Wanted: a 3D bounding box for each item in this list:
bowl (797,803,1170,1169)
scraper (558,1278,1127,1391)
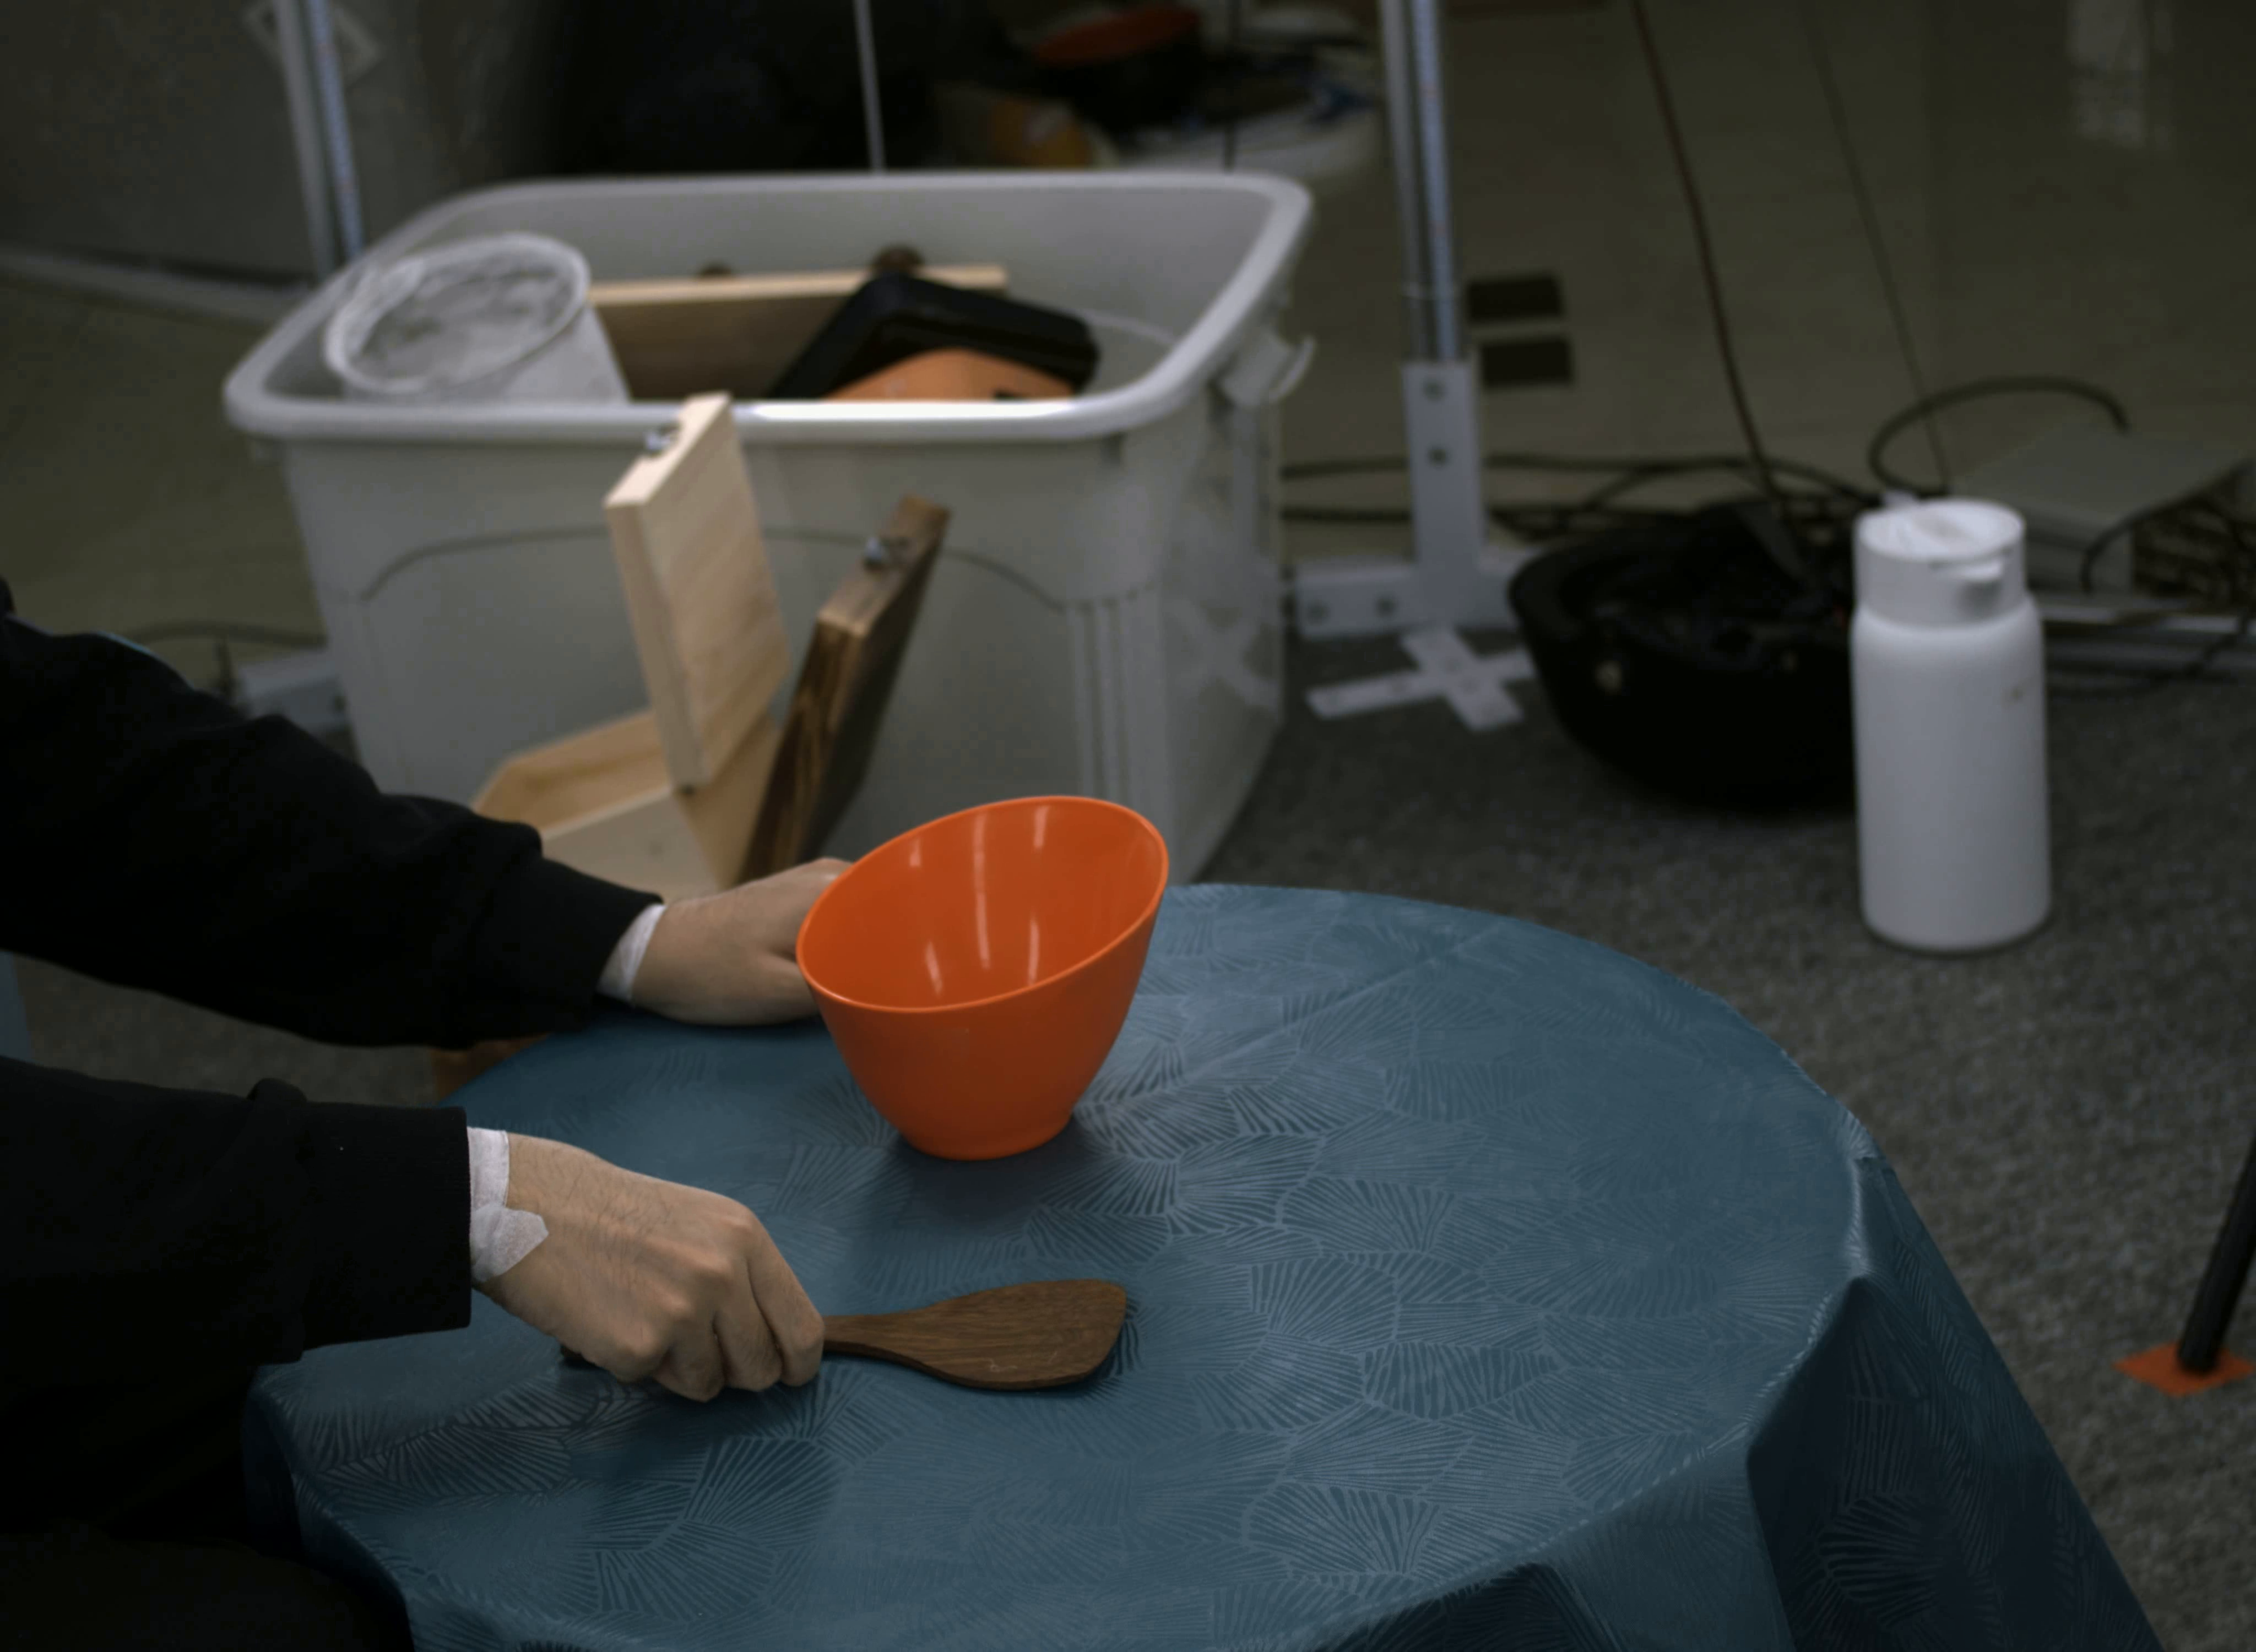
[{"bbox_3d":[-0.050,0.068,2.198,0.148,0.106,0.146,-6,27,3],"label":"bowl"},{"bbox_3d":[-0.105,0.185,2.068,0.211,0.011,0.075,-1,24,11],"label":"scraper"}]
